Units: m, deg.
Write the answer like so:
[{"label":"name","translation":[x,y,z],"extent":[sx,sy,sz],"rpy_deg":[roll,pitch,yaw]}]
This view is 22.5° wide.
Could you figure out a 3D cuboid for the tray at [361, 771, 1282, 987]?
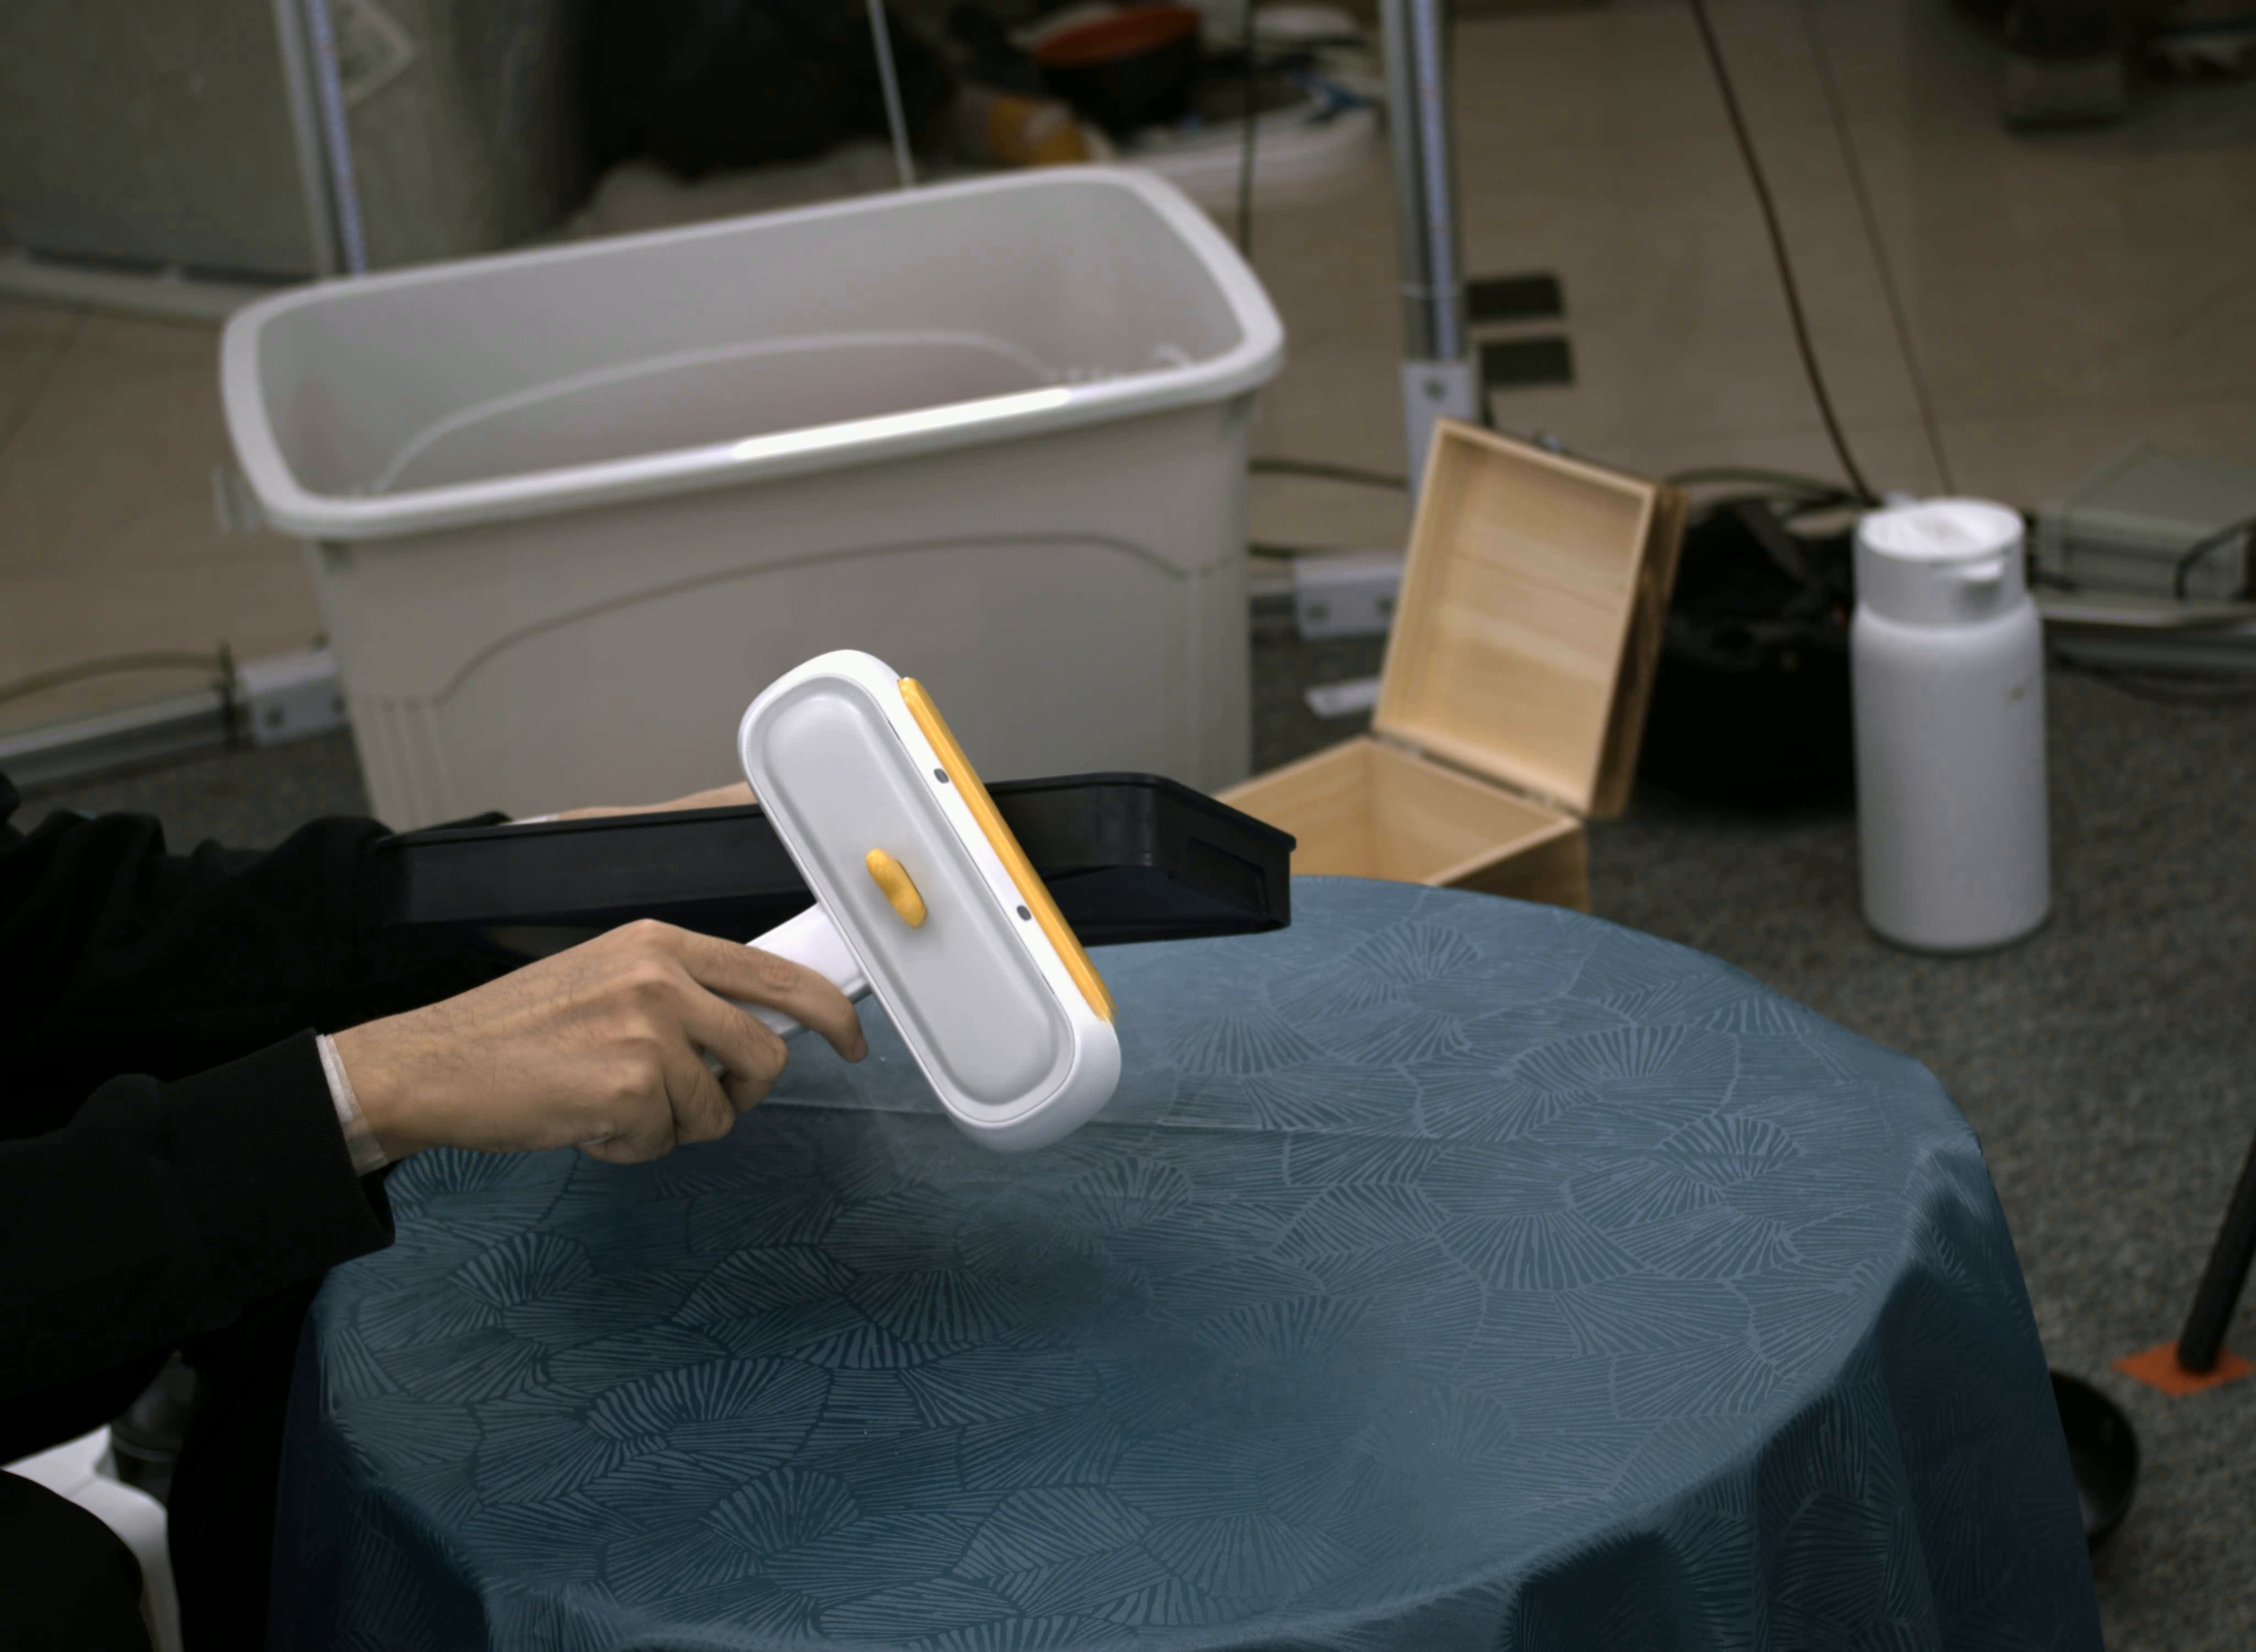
[{"label":"tray","translation":[-0.114,0.023,2.139],"extent":[0.317,0.037,0.185],"rpy_deg":[-5,-10,19]}]

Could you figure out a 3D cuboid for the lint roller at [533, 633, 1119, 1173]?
[{"label":"lint roller","translation":[-0.123,0.054,1.990],"extent":[0.192,0.192,0.074],"rpy_deg":[-36,-4,1]}]
